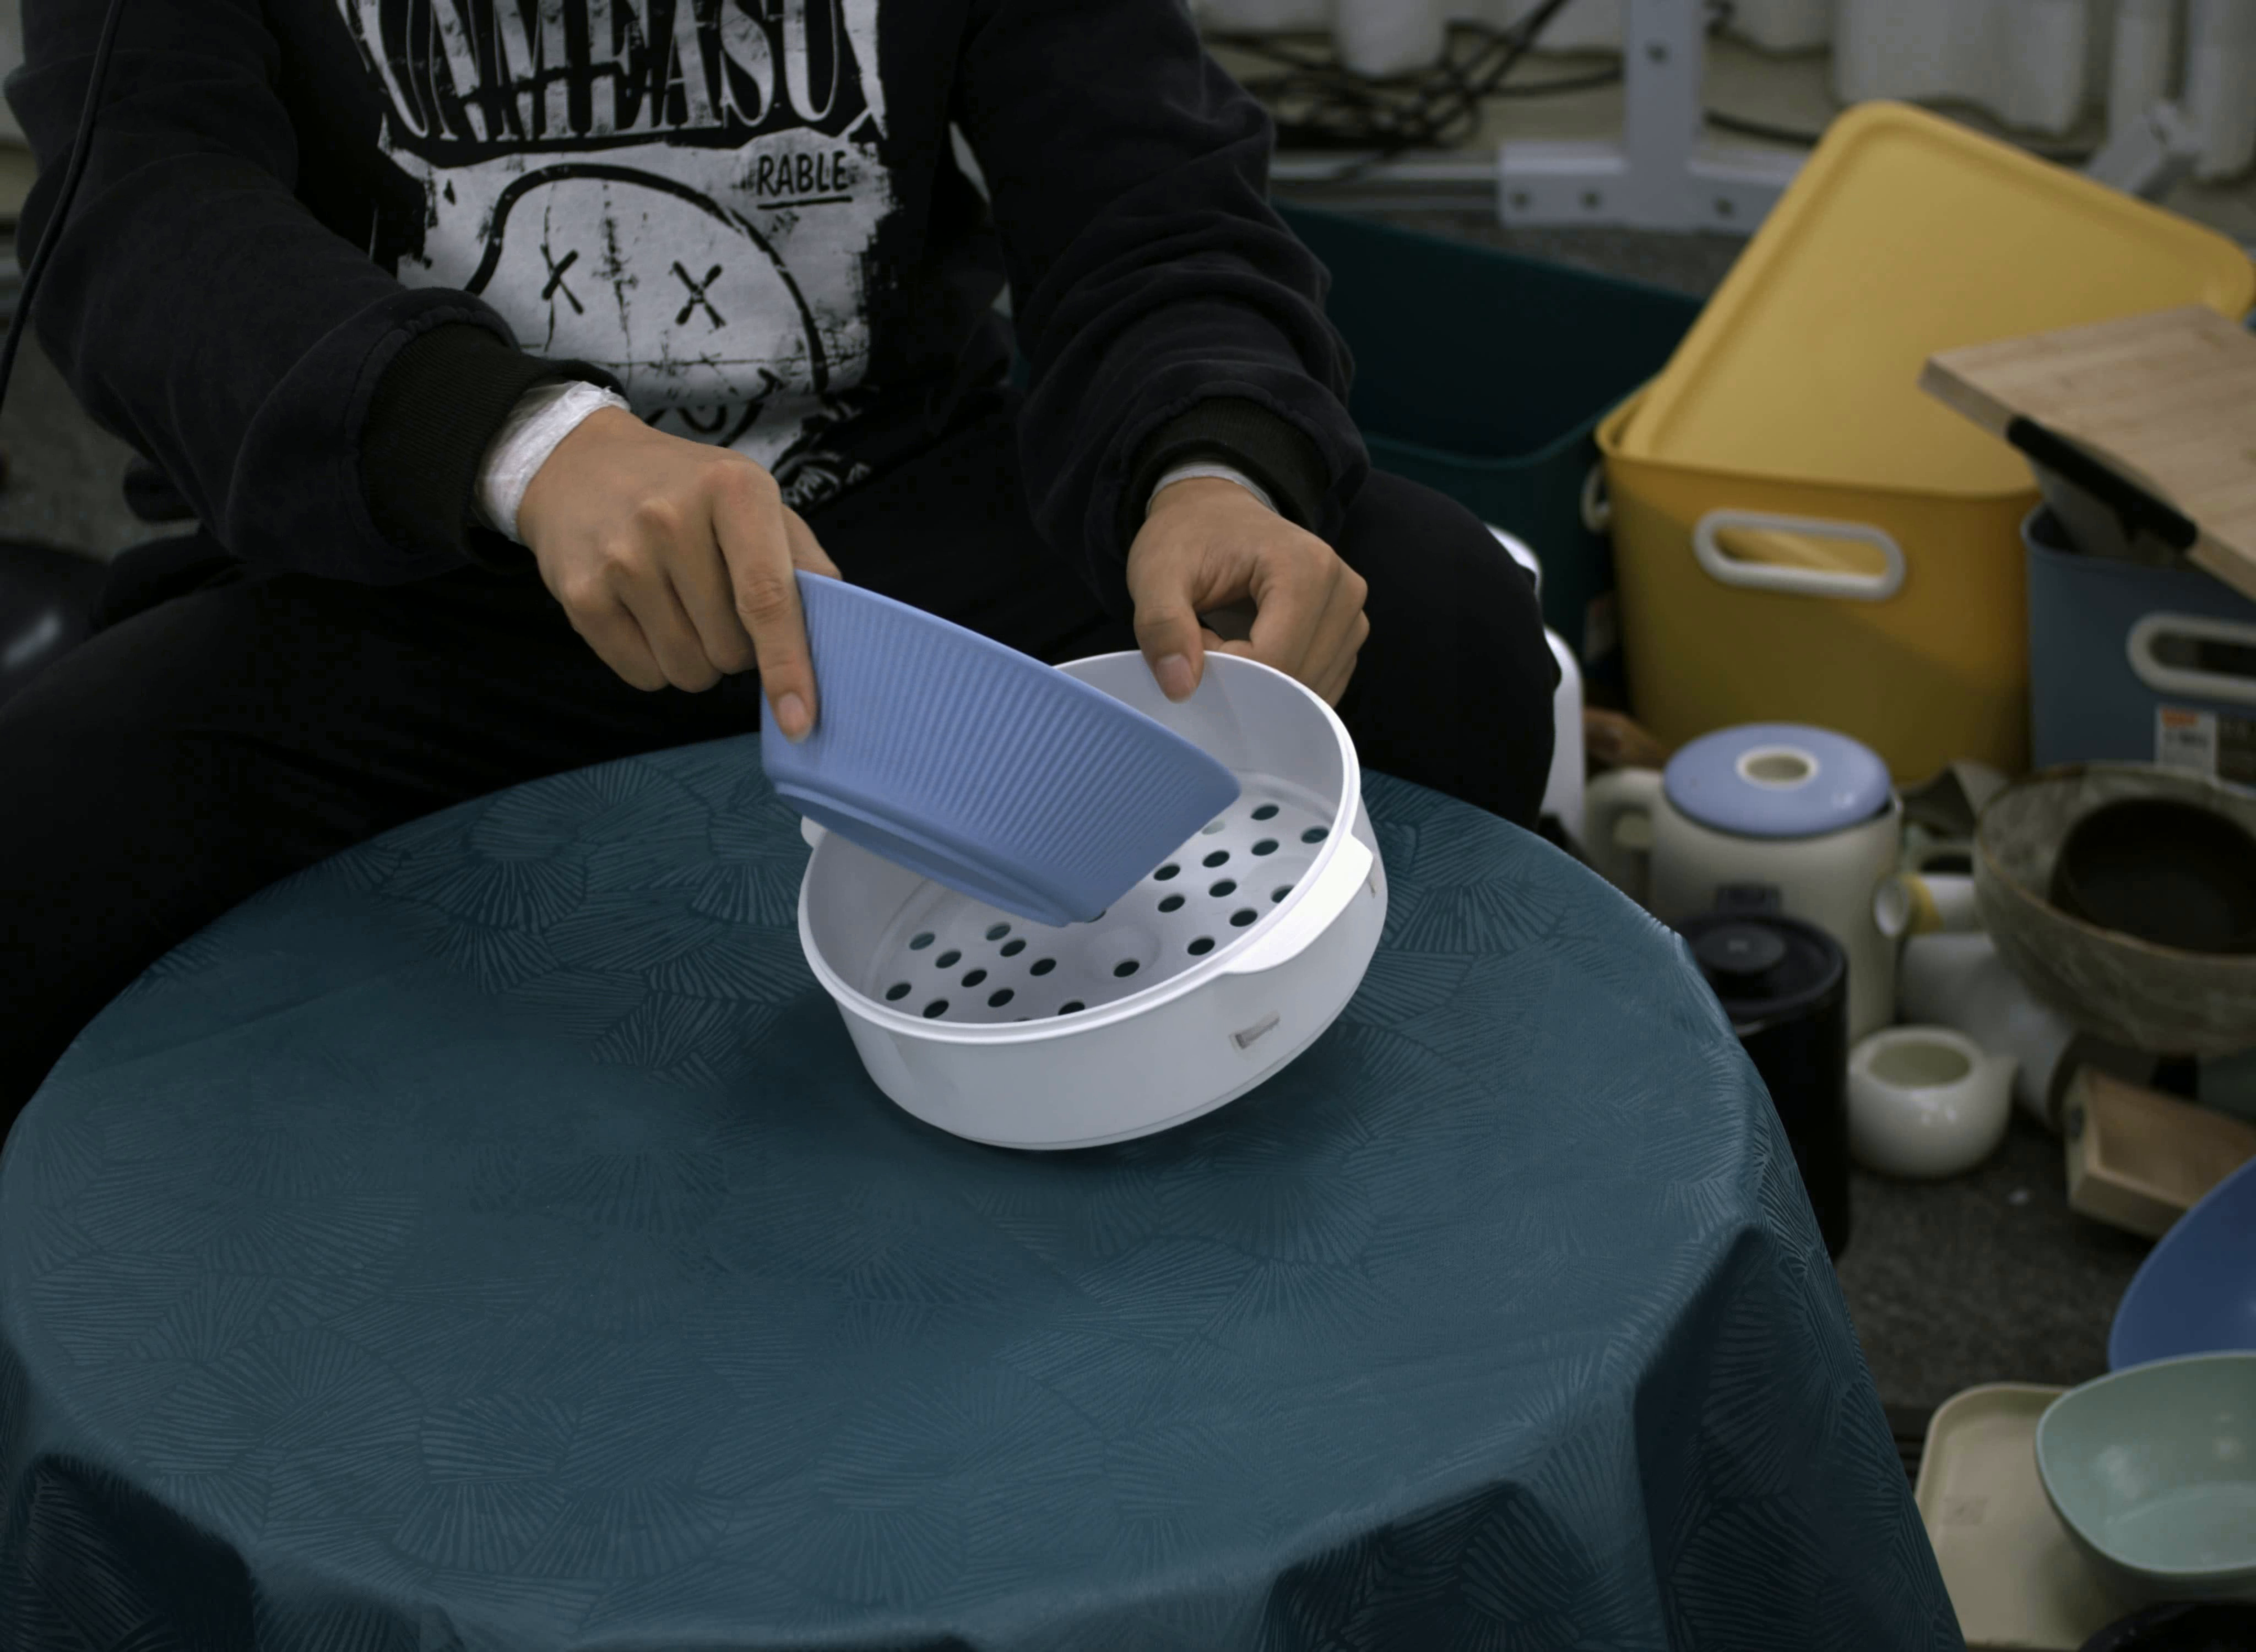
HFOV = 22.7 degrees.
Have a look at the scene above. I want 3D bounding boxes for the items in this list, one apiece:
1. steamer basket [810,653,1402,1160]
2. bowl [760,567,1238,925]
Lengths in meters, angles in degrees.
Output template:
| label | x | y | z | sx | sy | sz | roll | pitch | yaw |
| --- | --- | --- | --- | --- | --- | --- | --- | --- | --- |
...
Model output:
| label | x | y | z | sx | sy | sz | roll | pitch | yaw |
| --- | --- | --- | --- | --- | --- | --- | --- | --- | --- |
| steamer basket | -0.005 | 0.028 | 1.925 | 0.229 | 0.068 | 0.205 | 16 | 48 | 37 |
| bowl | -0.056 | -0.020 | 1.877 | 0.175 | 0.071 | 0.175 | 24 | -8 | 4 |
